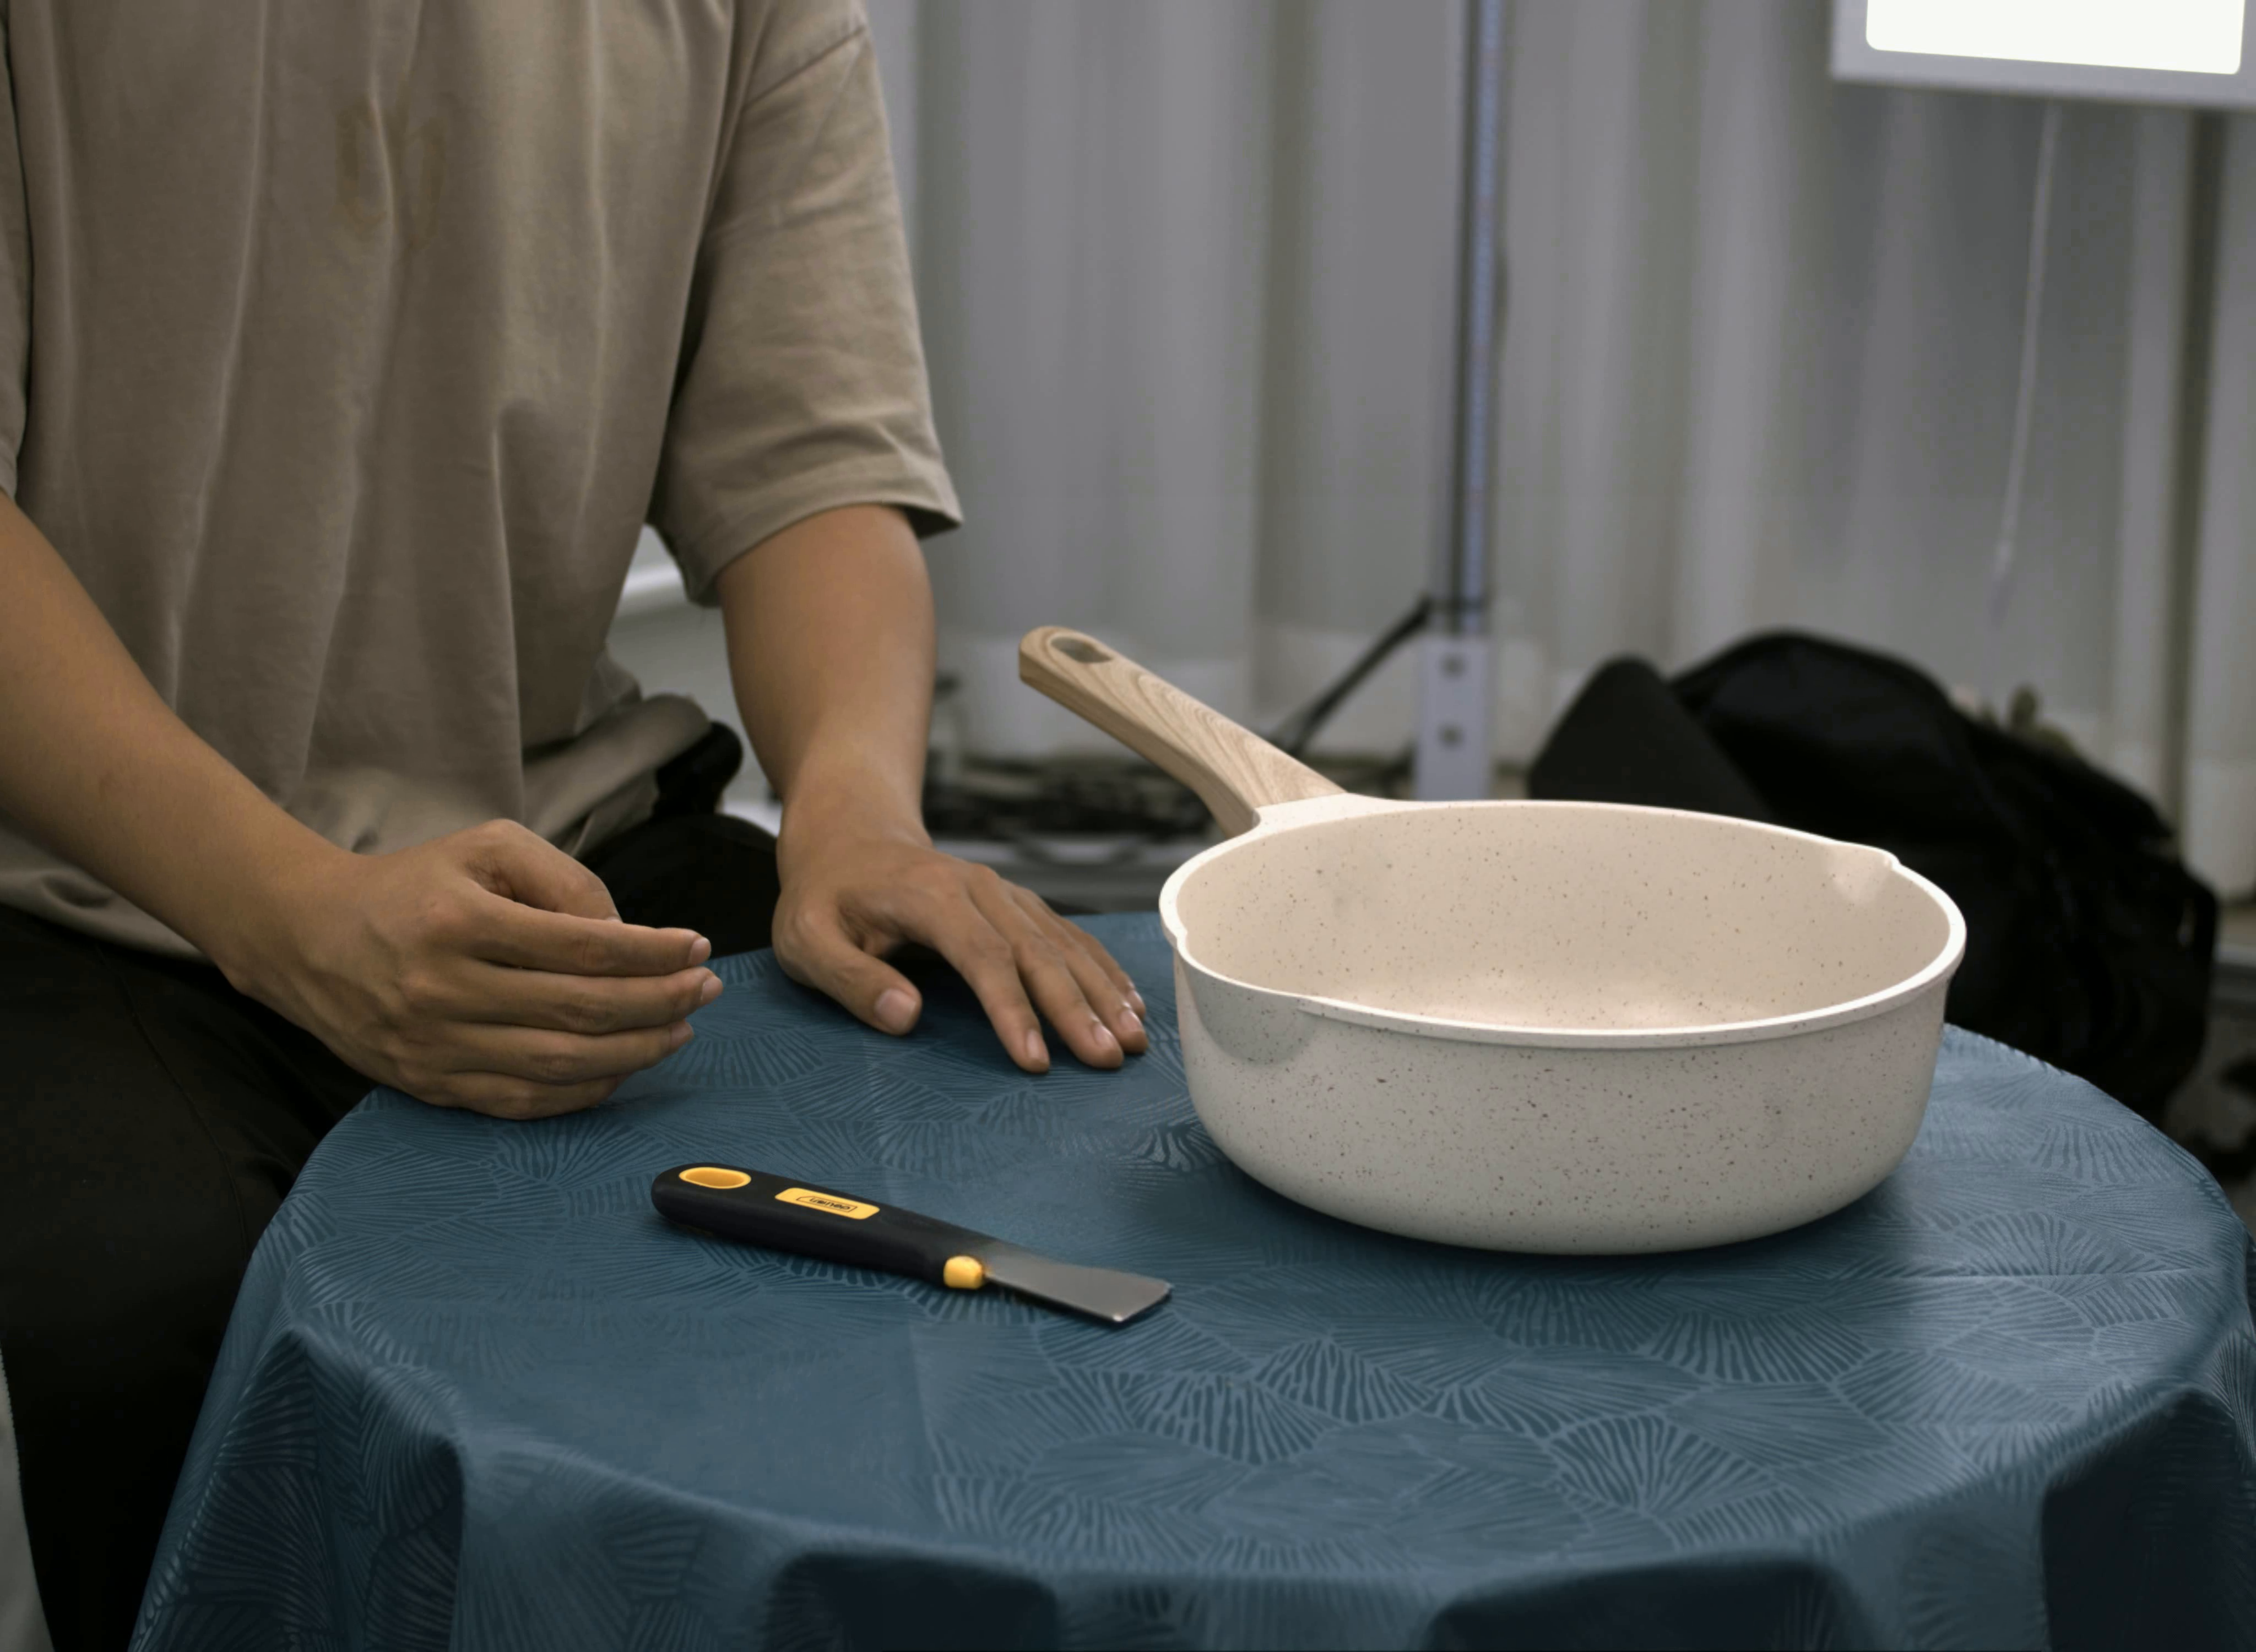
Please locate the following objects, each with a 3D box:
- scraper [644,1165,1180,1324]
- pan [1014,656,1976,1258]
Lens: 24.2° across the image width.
[{"bbox_3d":[-0.068,0.123,1.554,0.169,0.015,0.039,10,23,23],"label":"scraper"},{"bbox_3d":[0.089,0.037,1.727,0.264,0.103,0.429,-12,20,-31],"label":"pan"}]
